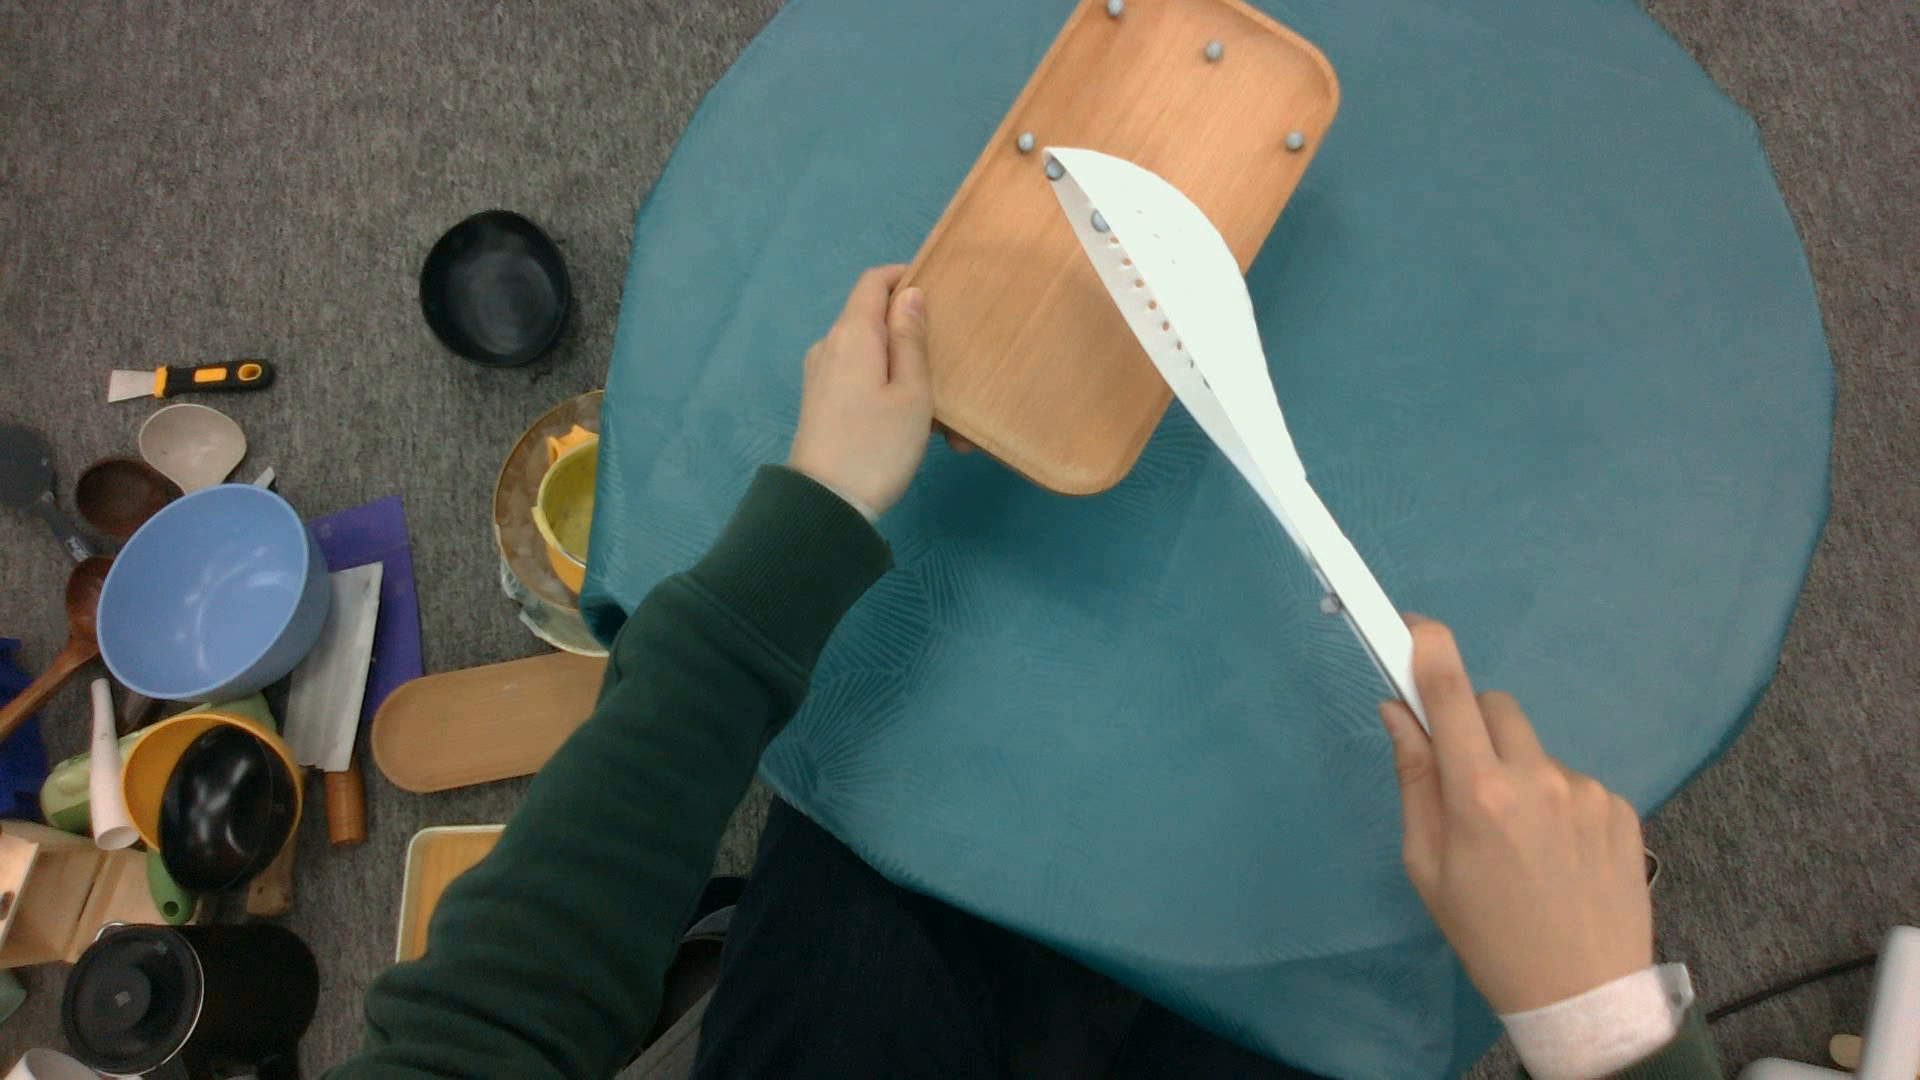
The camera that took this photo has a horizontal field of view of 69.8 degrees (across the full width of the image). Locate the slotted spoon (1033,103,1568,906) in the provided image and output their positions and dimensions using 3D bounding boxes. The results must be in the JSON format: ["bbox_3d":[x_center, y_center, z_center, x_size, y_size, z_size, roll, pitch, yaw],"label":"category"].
[{"bbox_3d":[0.125,-0.020,0.521,0.045,0.136,0.350,-27,83,7],"label":"slotted spoon"}]

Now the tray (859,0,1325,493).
[{"bbox_3d":[0.063,-0.146,0.617,0.130,0.023,0.251,31,76,2],"label":"tray"}]
